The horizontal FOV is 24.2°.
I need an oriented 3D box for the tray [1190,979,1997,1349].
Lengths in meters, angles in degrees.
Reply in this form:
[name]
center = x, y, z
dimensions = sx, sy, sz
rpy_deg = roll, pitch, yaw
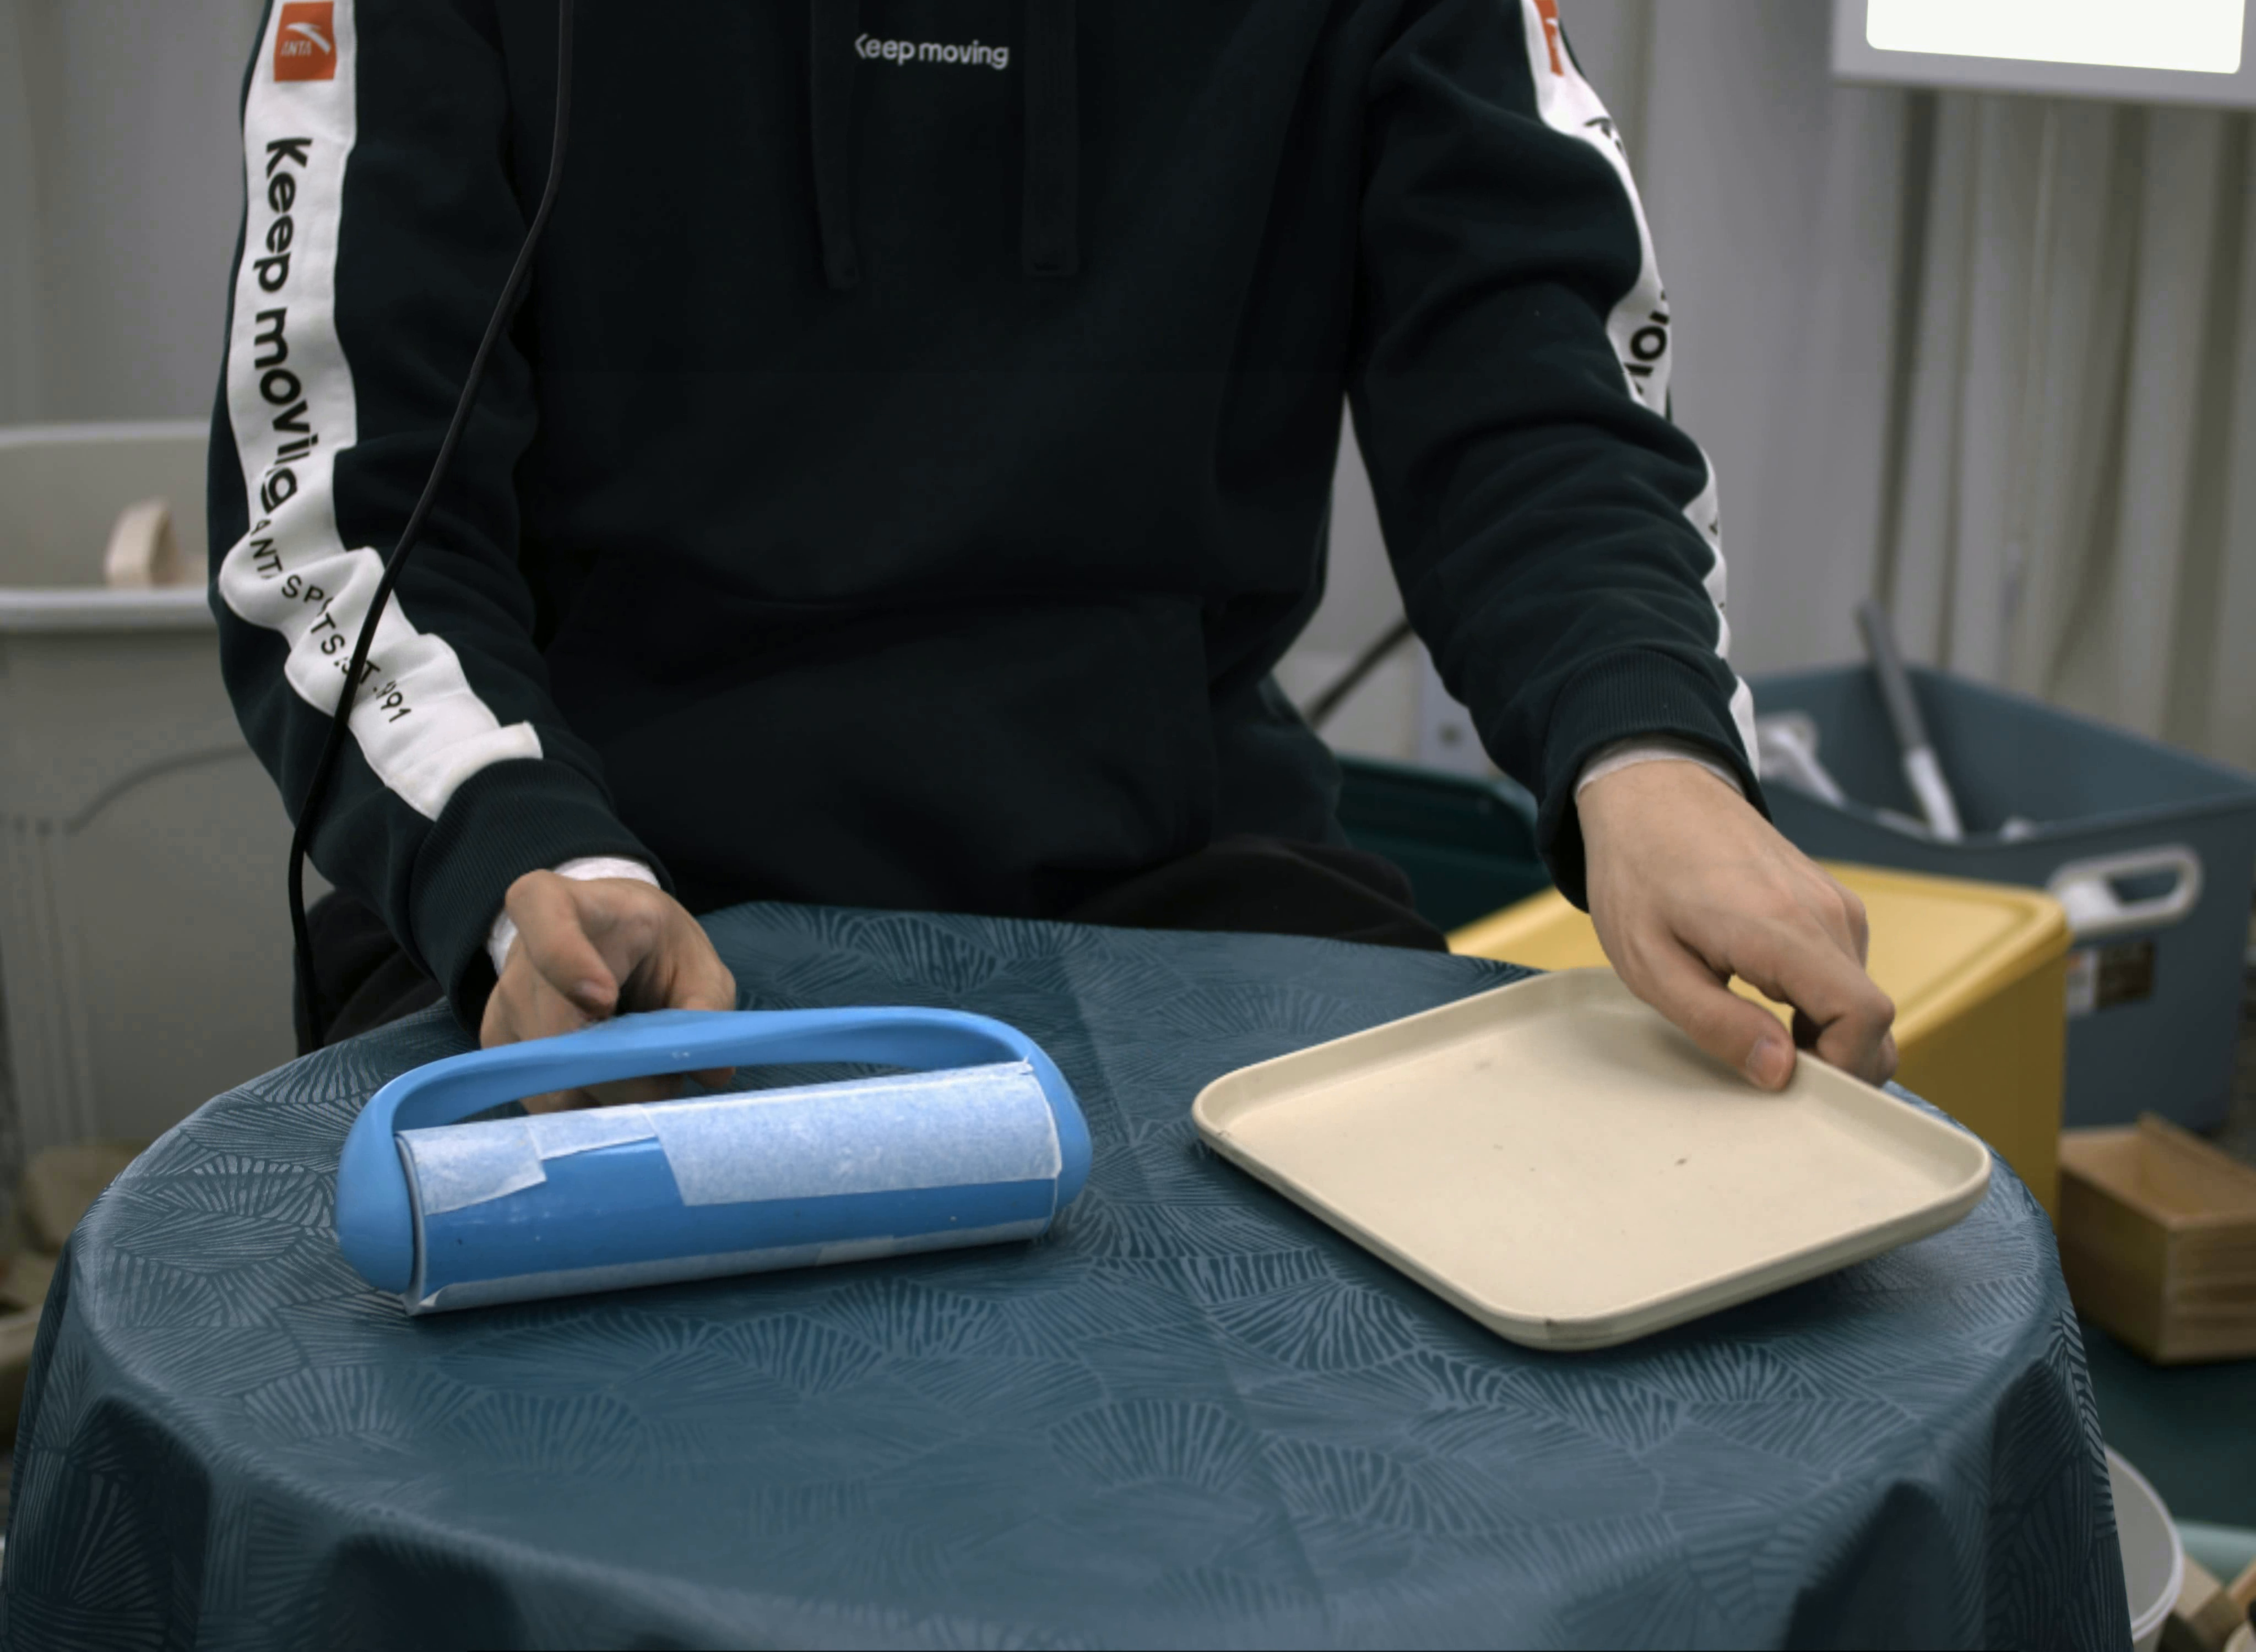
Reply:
[tray]
center = 0.137, 0.101, 1.598
dimensions = 0.172, 0.017, 0.237
rpy_deg = -15, 20, -24

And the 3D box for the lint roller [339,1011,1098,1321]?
[lint roller]
center = -0.140, 0.089, 1.591
dimensions = 0.229, 0.068, 0.178
rpy_deg = -8, 19, -22
